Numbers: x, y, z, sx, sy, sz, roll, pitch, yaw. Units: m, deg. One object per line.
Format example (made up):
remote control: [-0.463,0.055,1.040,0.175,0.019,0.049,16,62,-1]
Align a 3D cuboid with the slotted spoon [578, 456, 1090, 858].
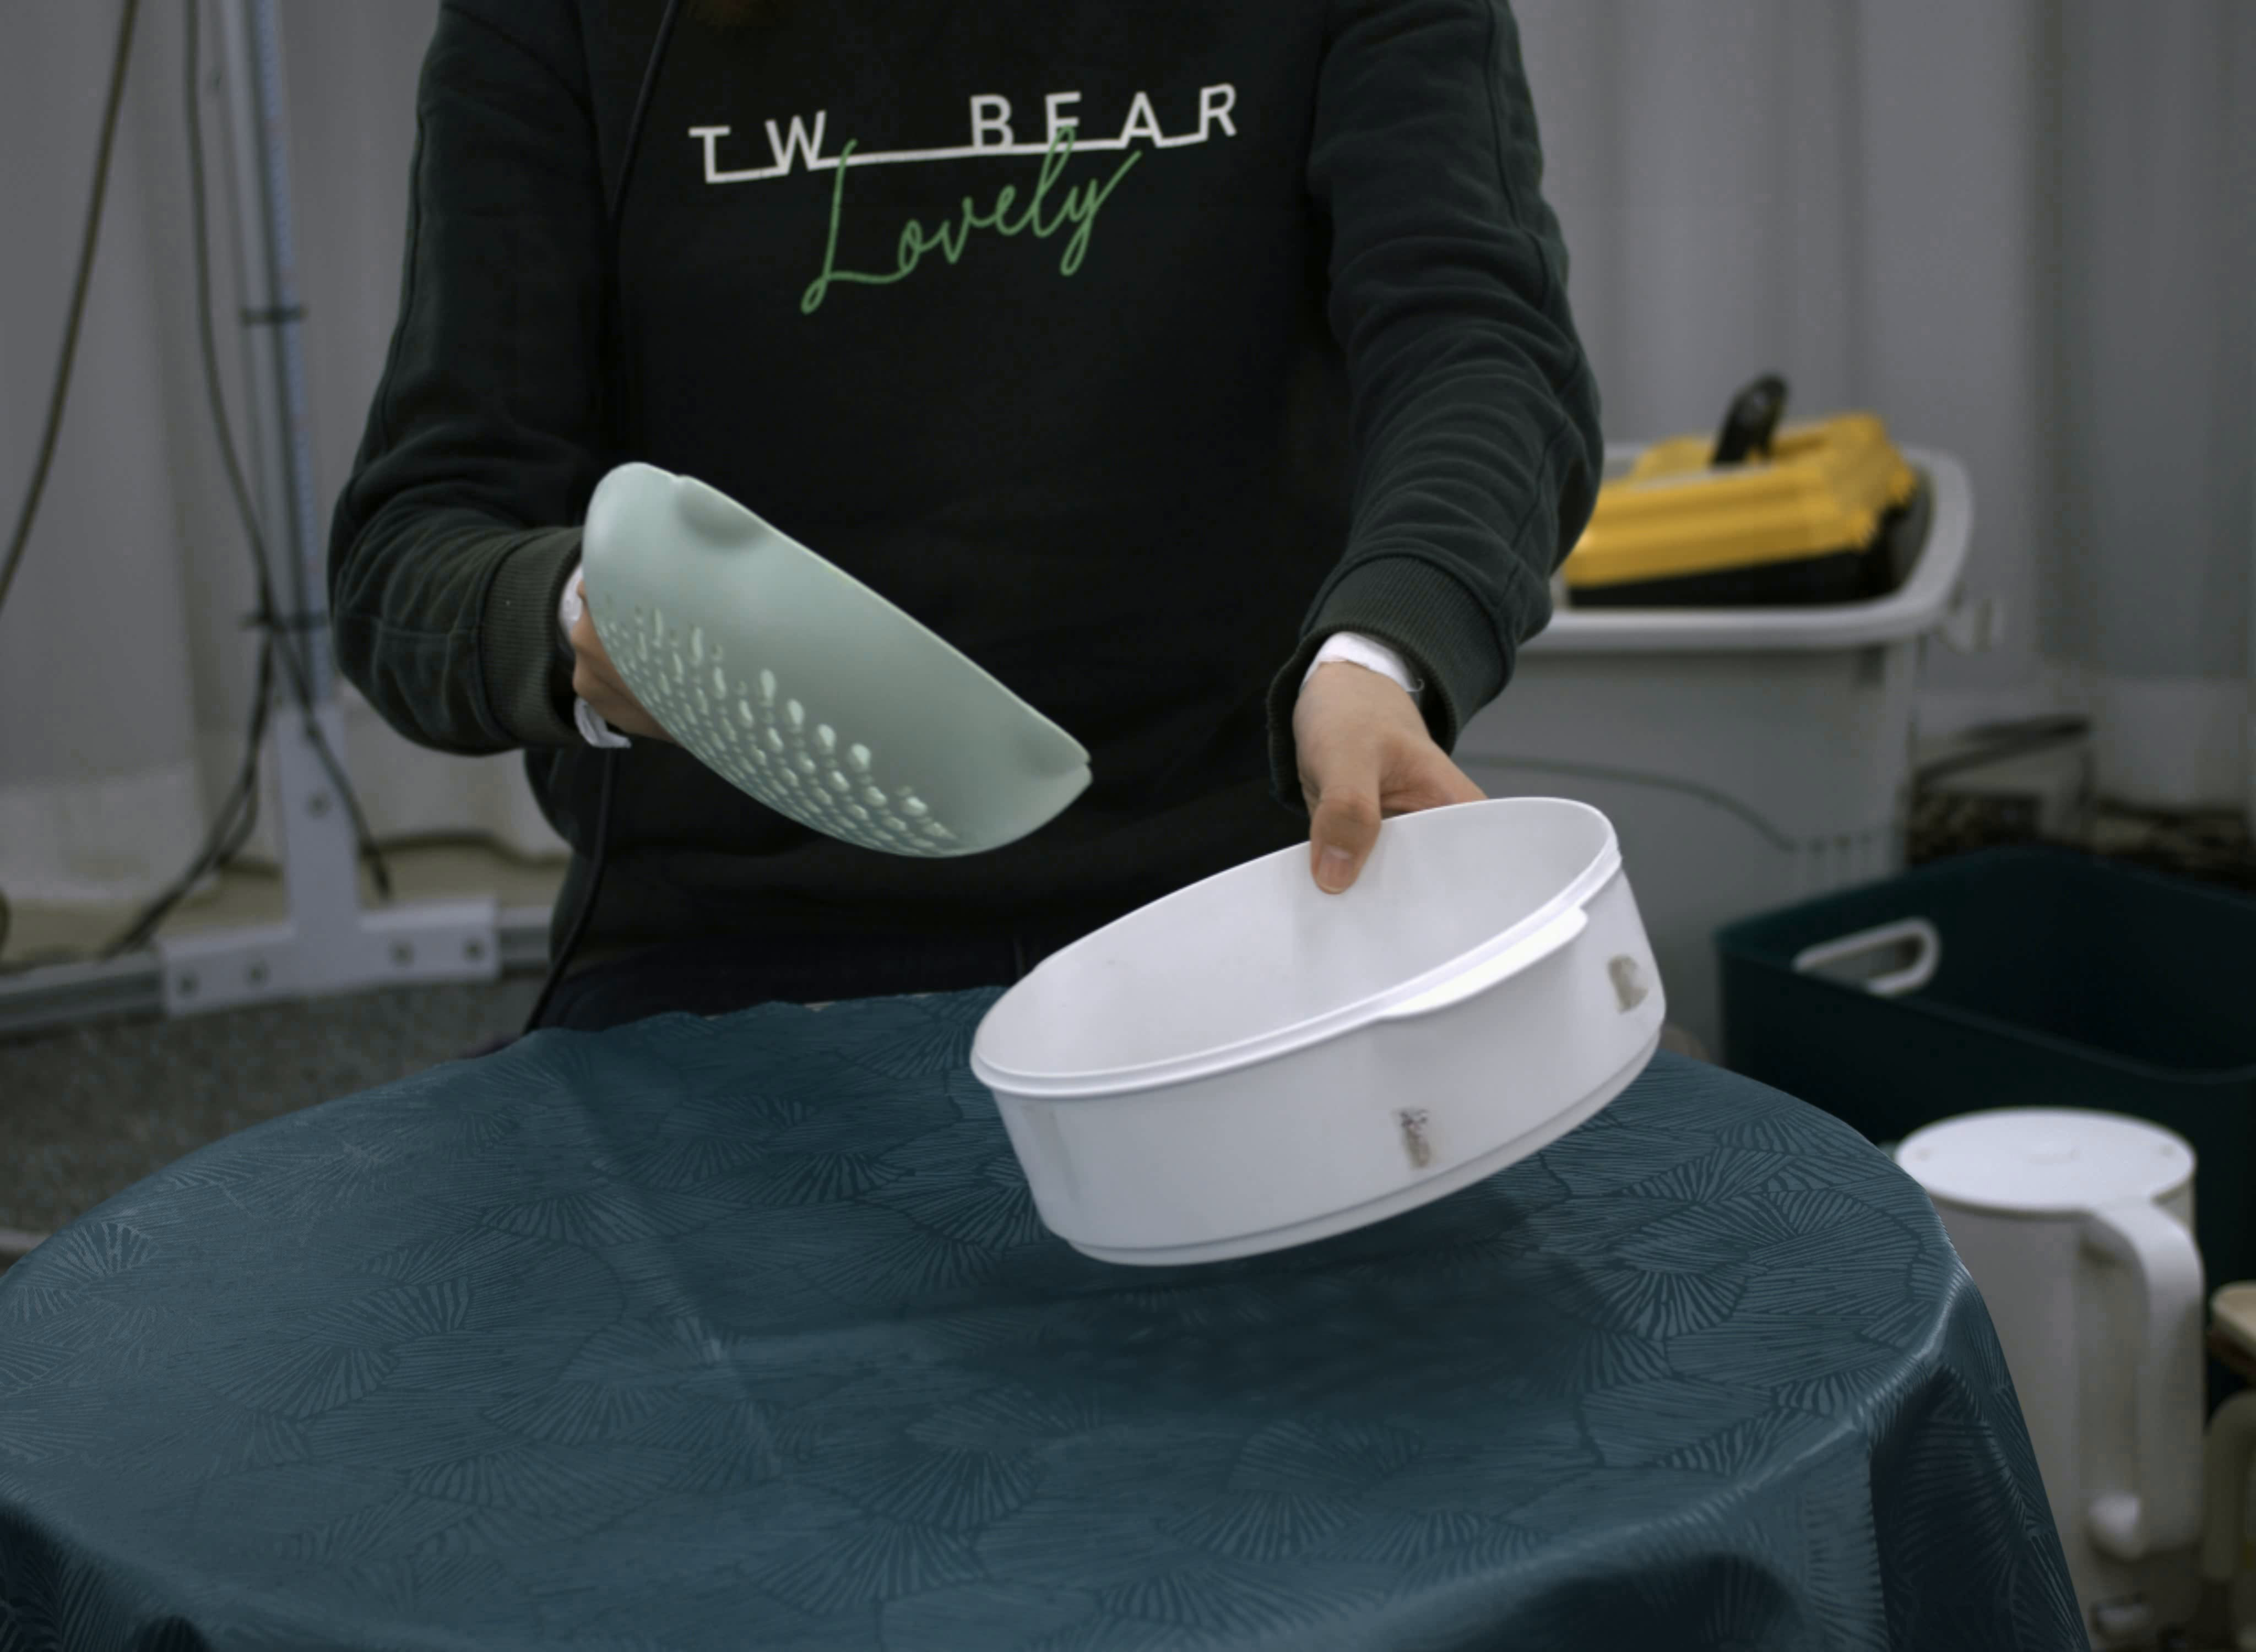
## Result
slotted spoon: [-0.115,-0.048,1.687,0.168,0.075,0.360,36,-2,-12]

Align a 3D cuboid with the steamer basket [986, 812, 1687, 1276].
steamer basket: [0.063,0.063,1.581,0.202,0.069,0.231,-26,14,-29]
